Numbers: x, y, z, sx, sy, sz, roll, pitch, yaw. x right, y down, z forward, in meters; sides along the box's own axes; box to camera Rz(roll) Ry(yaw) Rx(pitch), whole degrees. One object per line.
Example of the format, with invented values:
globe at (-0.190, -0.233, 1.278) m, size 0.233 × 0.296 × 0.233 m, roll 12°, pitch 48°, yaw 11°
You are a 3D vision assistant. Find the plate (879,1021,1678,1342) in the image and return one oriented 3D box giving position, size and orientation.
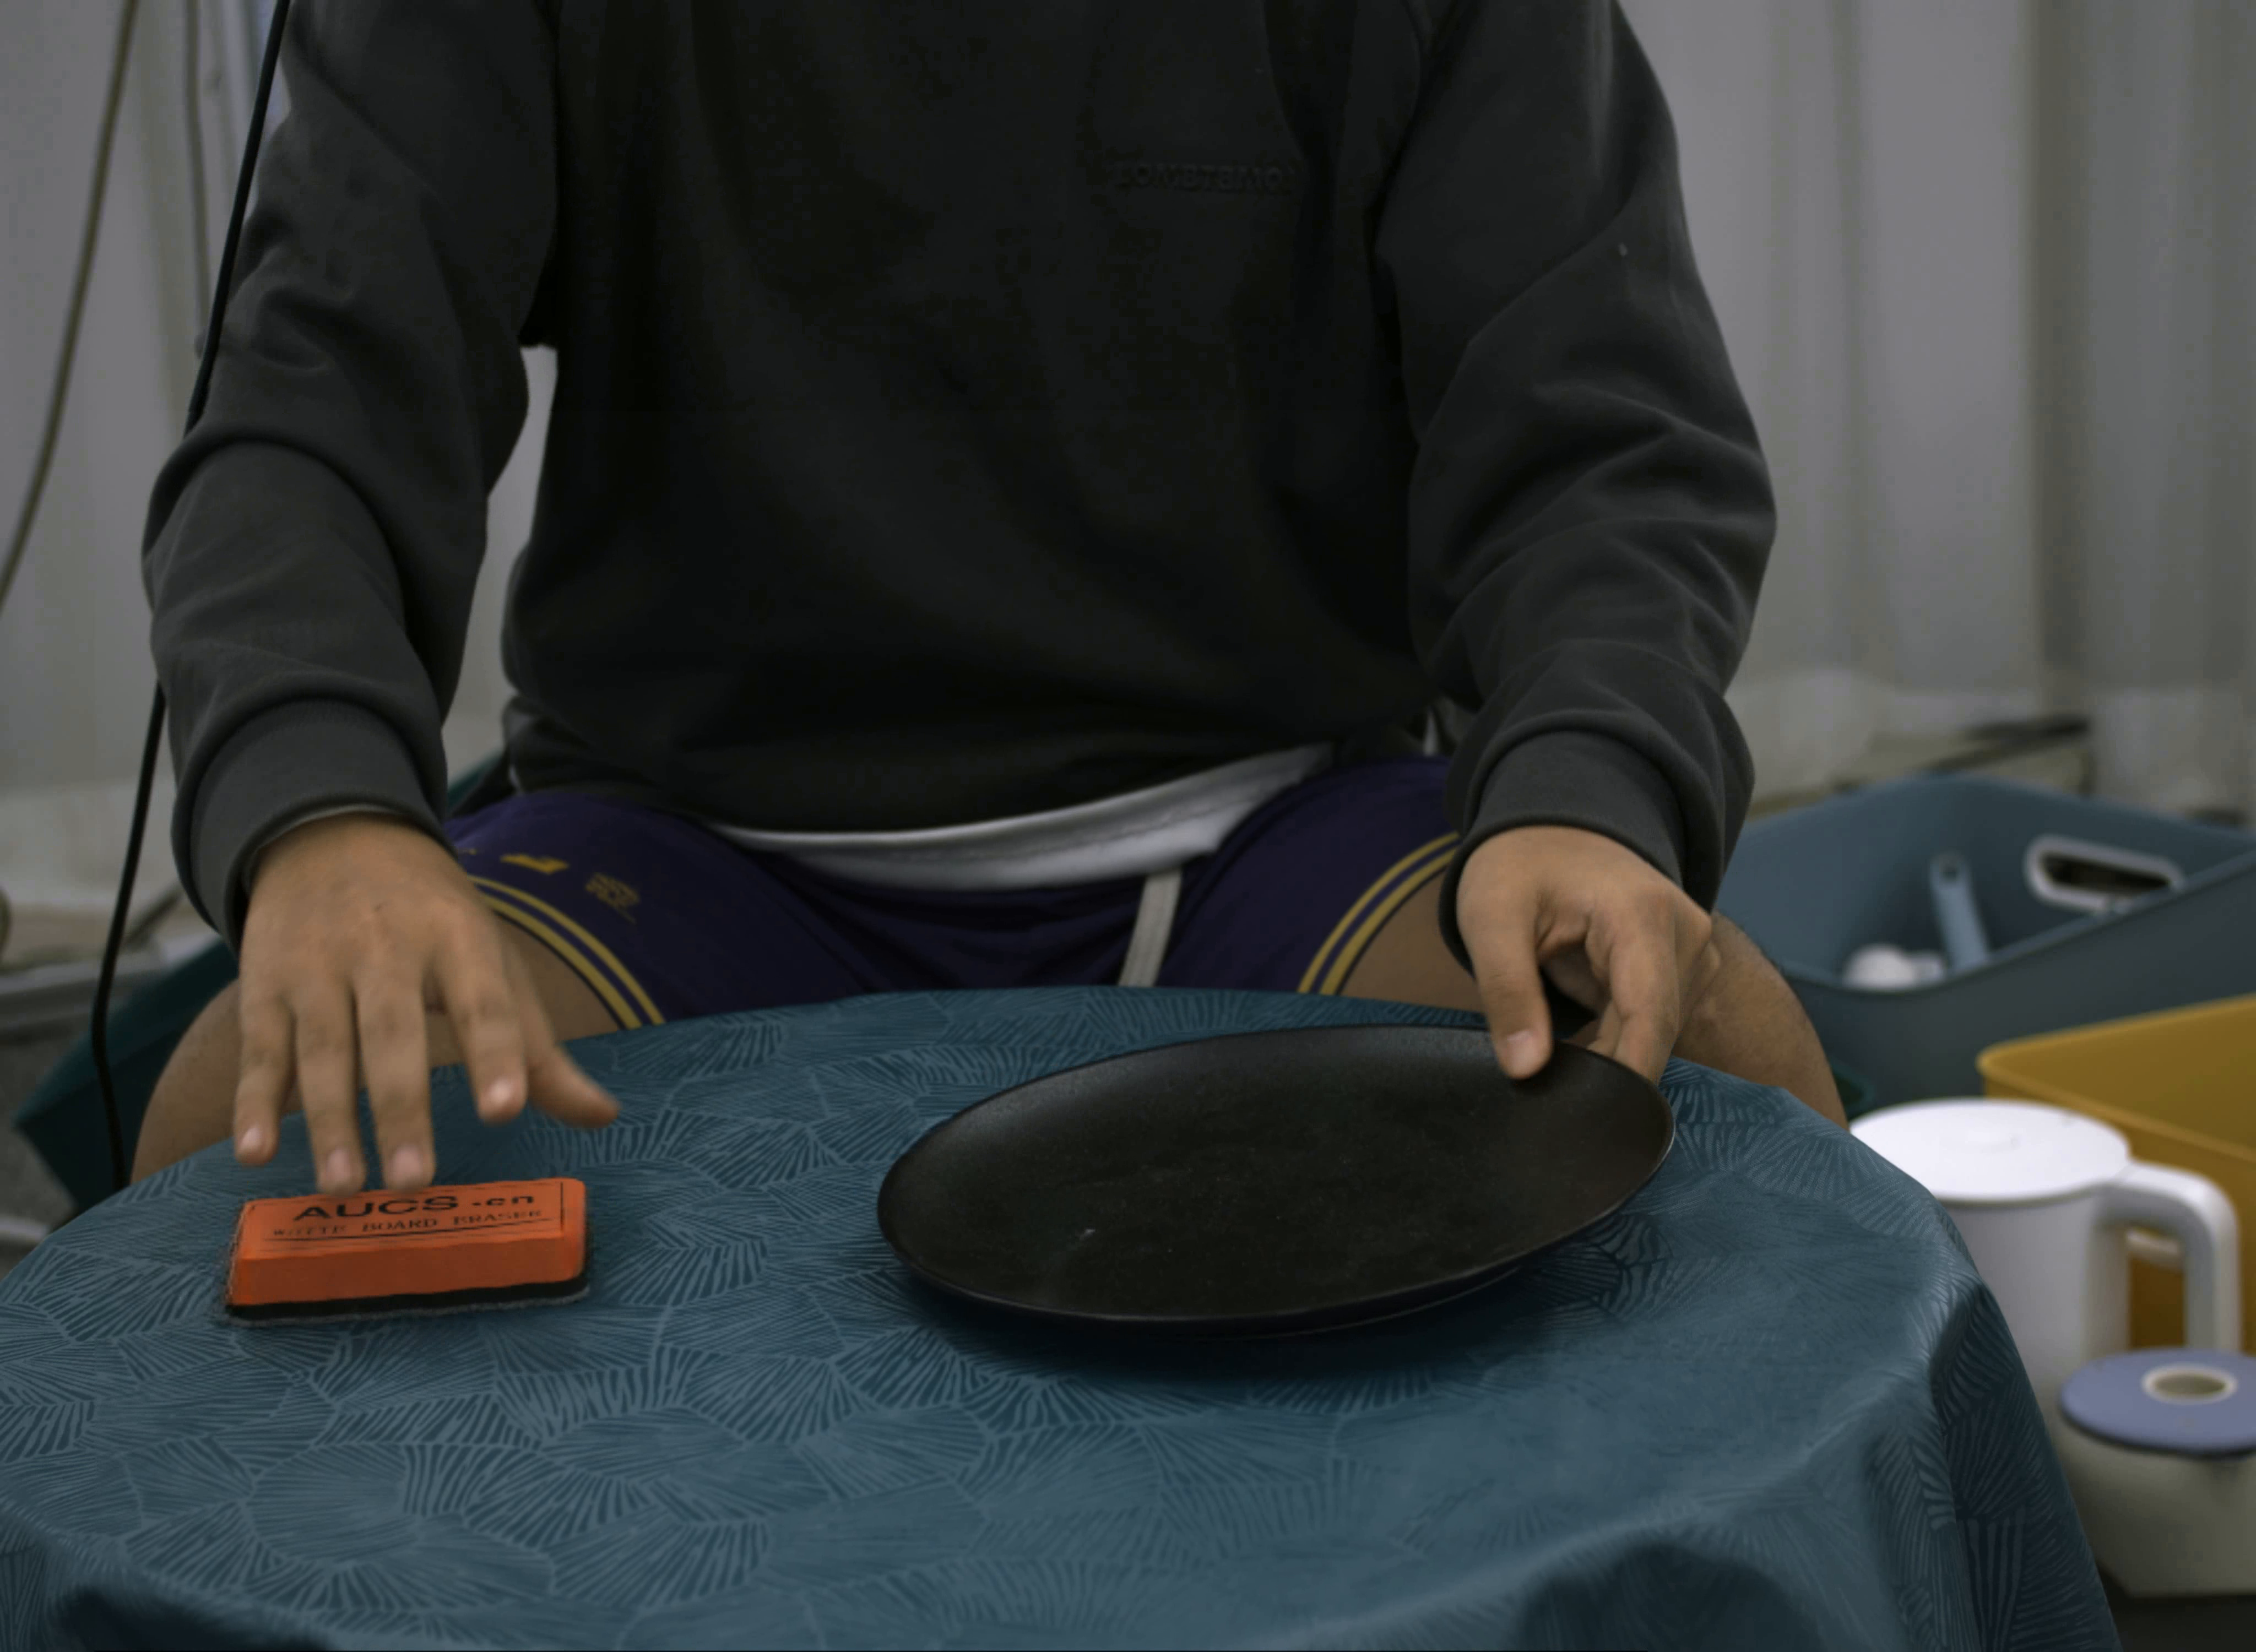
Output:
plate at (0.046, 0.110, 1.654) m, size 0.243 × 0.023 × 0.246 m, roll -6°, pitch 17°, yaw 2°

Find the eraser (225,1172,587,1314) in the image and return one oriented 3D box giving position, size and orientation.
eraser at (-0.218, 0.126, 1.659) m, size 0.107 × 0.023 × 0.059 m, roll -3°, pitch 16°, yaw -5°
